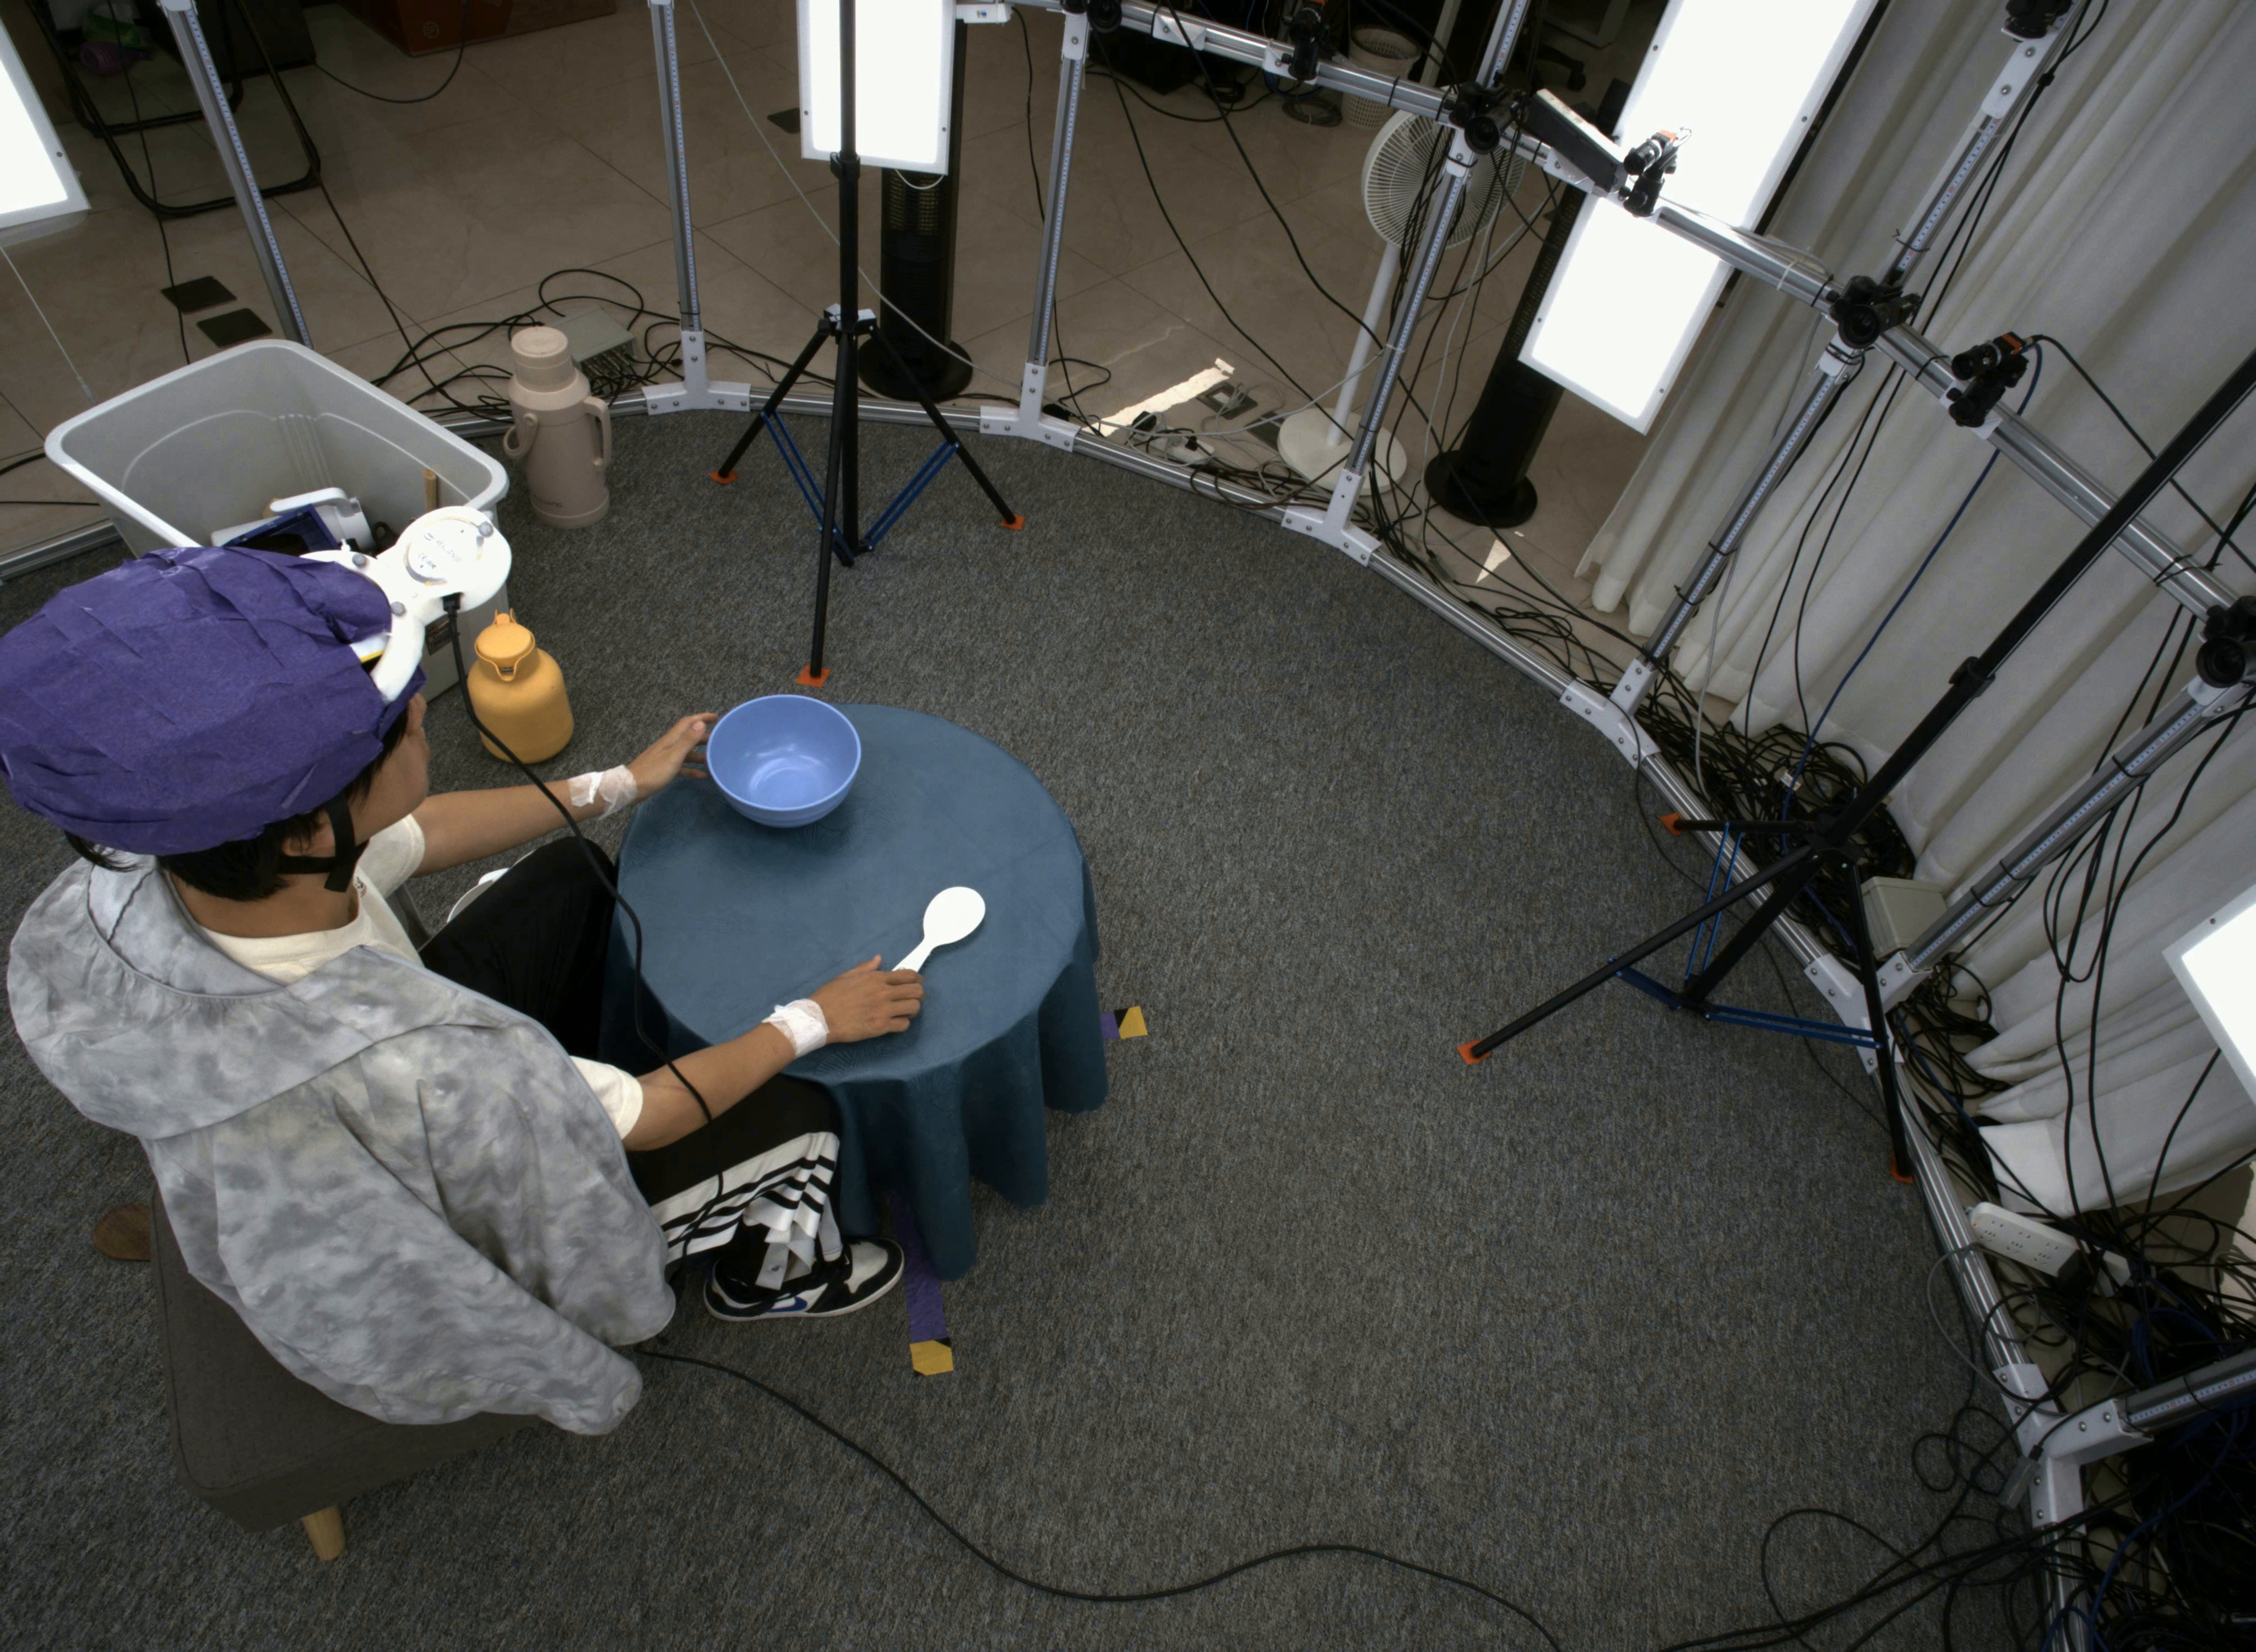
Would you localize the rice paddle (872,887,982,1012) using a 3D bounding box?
[{"bbox_3d":[-0.252,0.147,1.640,0.068,0.030,0.204,30,53,8],"label":"rice paddle"}]

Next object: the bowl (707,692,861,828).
[{"bbox_3d":[-0.452,-0.071,1.710,0.196,0.097,0.193,8,52,-9],"label":"bowl"}]
